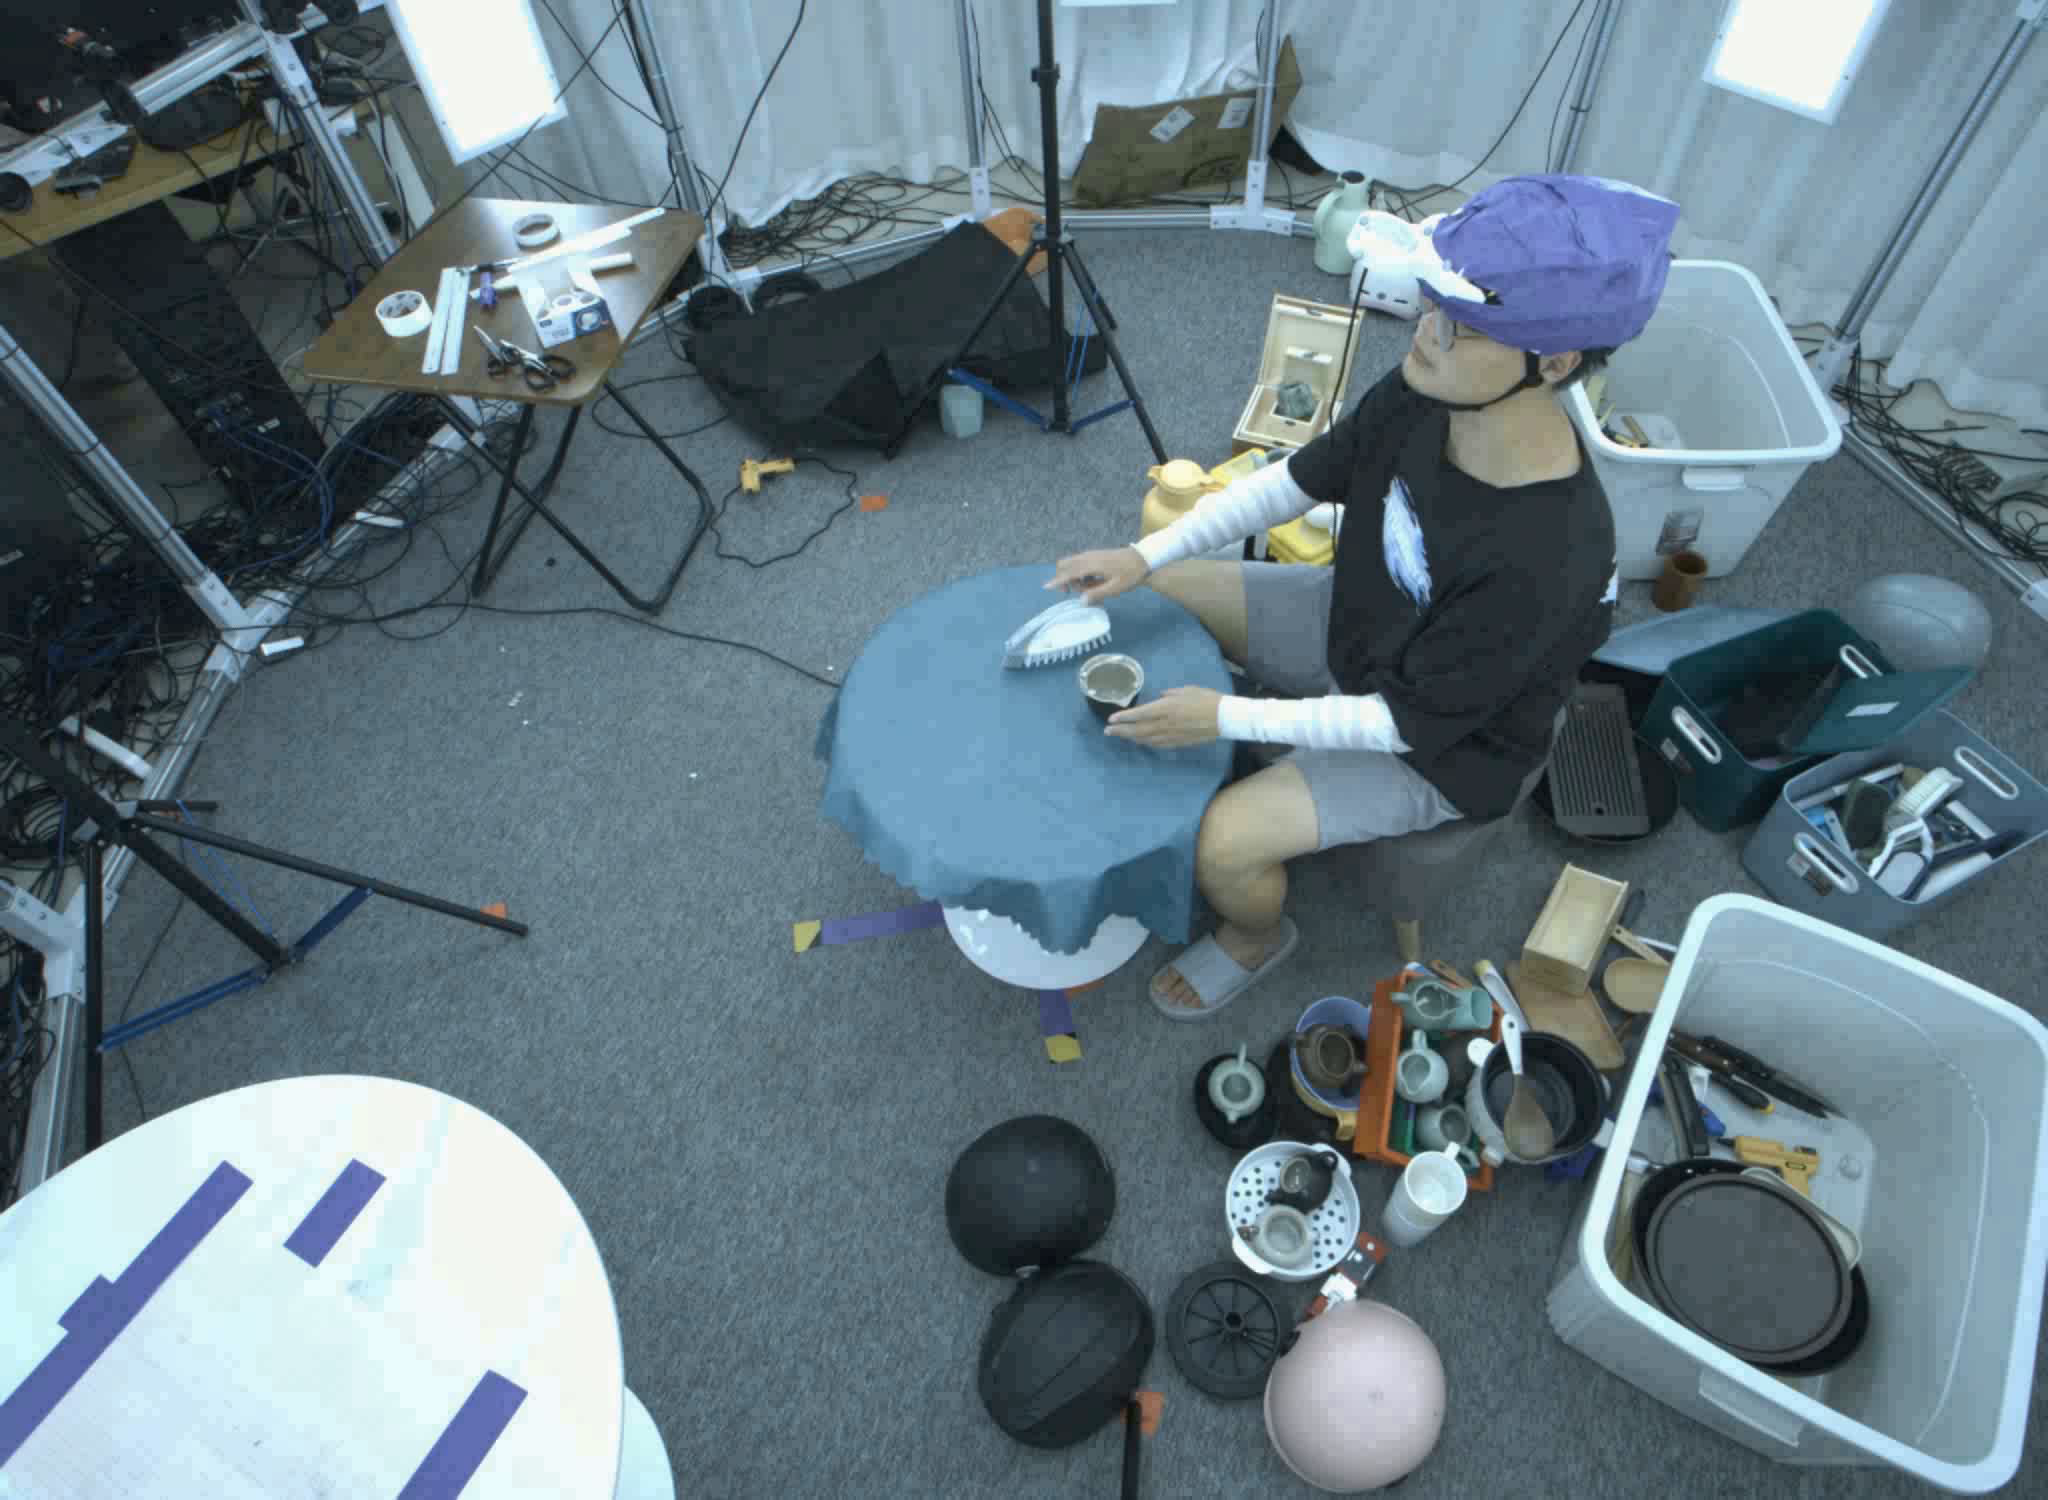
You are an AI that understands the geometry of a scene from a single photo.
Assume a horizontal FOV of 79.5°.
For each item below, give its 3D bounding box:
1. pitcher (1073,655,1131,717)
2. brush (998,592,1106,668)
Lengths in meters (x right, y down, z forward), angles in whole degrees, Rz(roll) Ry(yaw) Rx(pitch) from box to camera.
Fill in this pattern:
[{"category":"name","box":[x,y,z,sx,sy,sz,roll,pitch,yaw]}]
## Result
[{"category":"pitcher","box":[0.115,-0.085,1.790,0.084,0.072,0.094,-19,59,-11]},{"category":"brush","box":[0.035,-0.183,1.852,0.176,0.095,0.060,-23,53,-10]}]
